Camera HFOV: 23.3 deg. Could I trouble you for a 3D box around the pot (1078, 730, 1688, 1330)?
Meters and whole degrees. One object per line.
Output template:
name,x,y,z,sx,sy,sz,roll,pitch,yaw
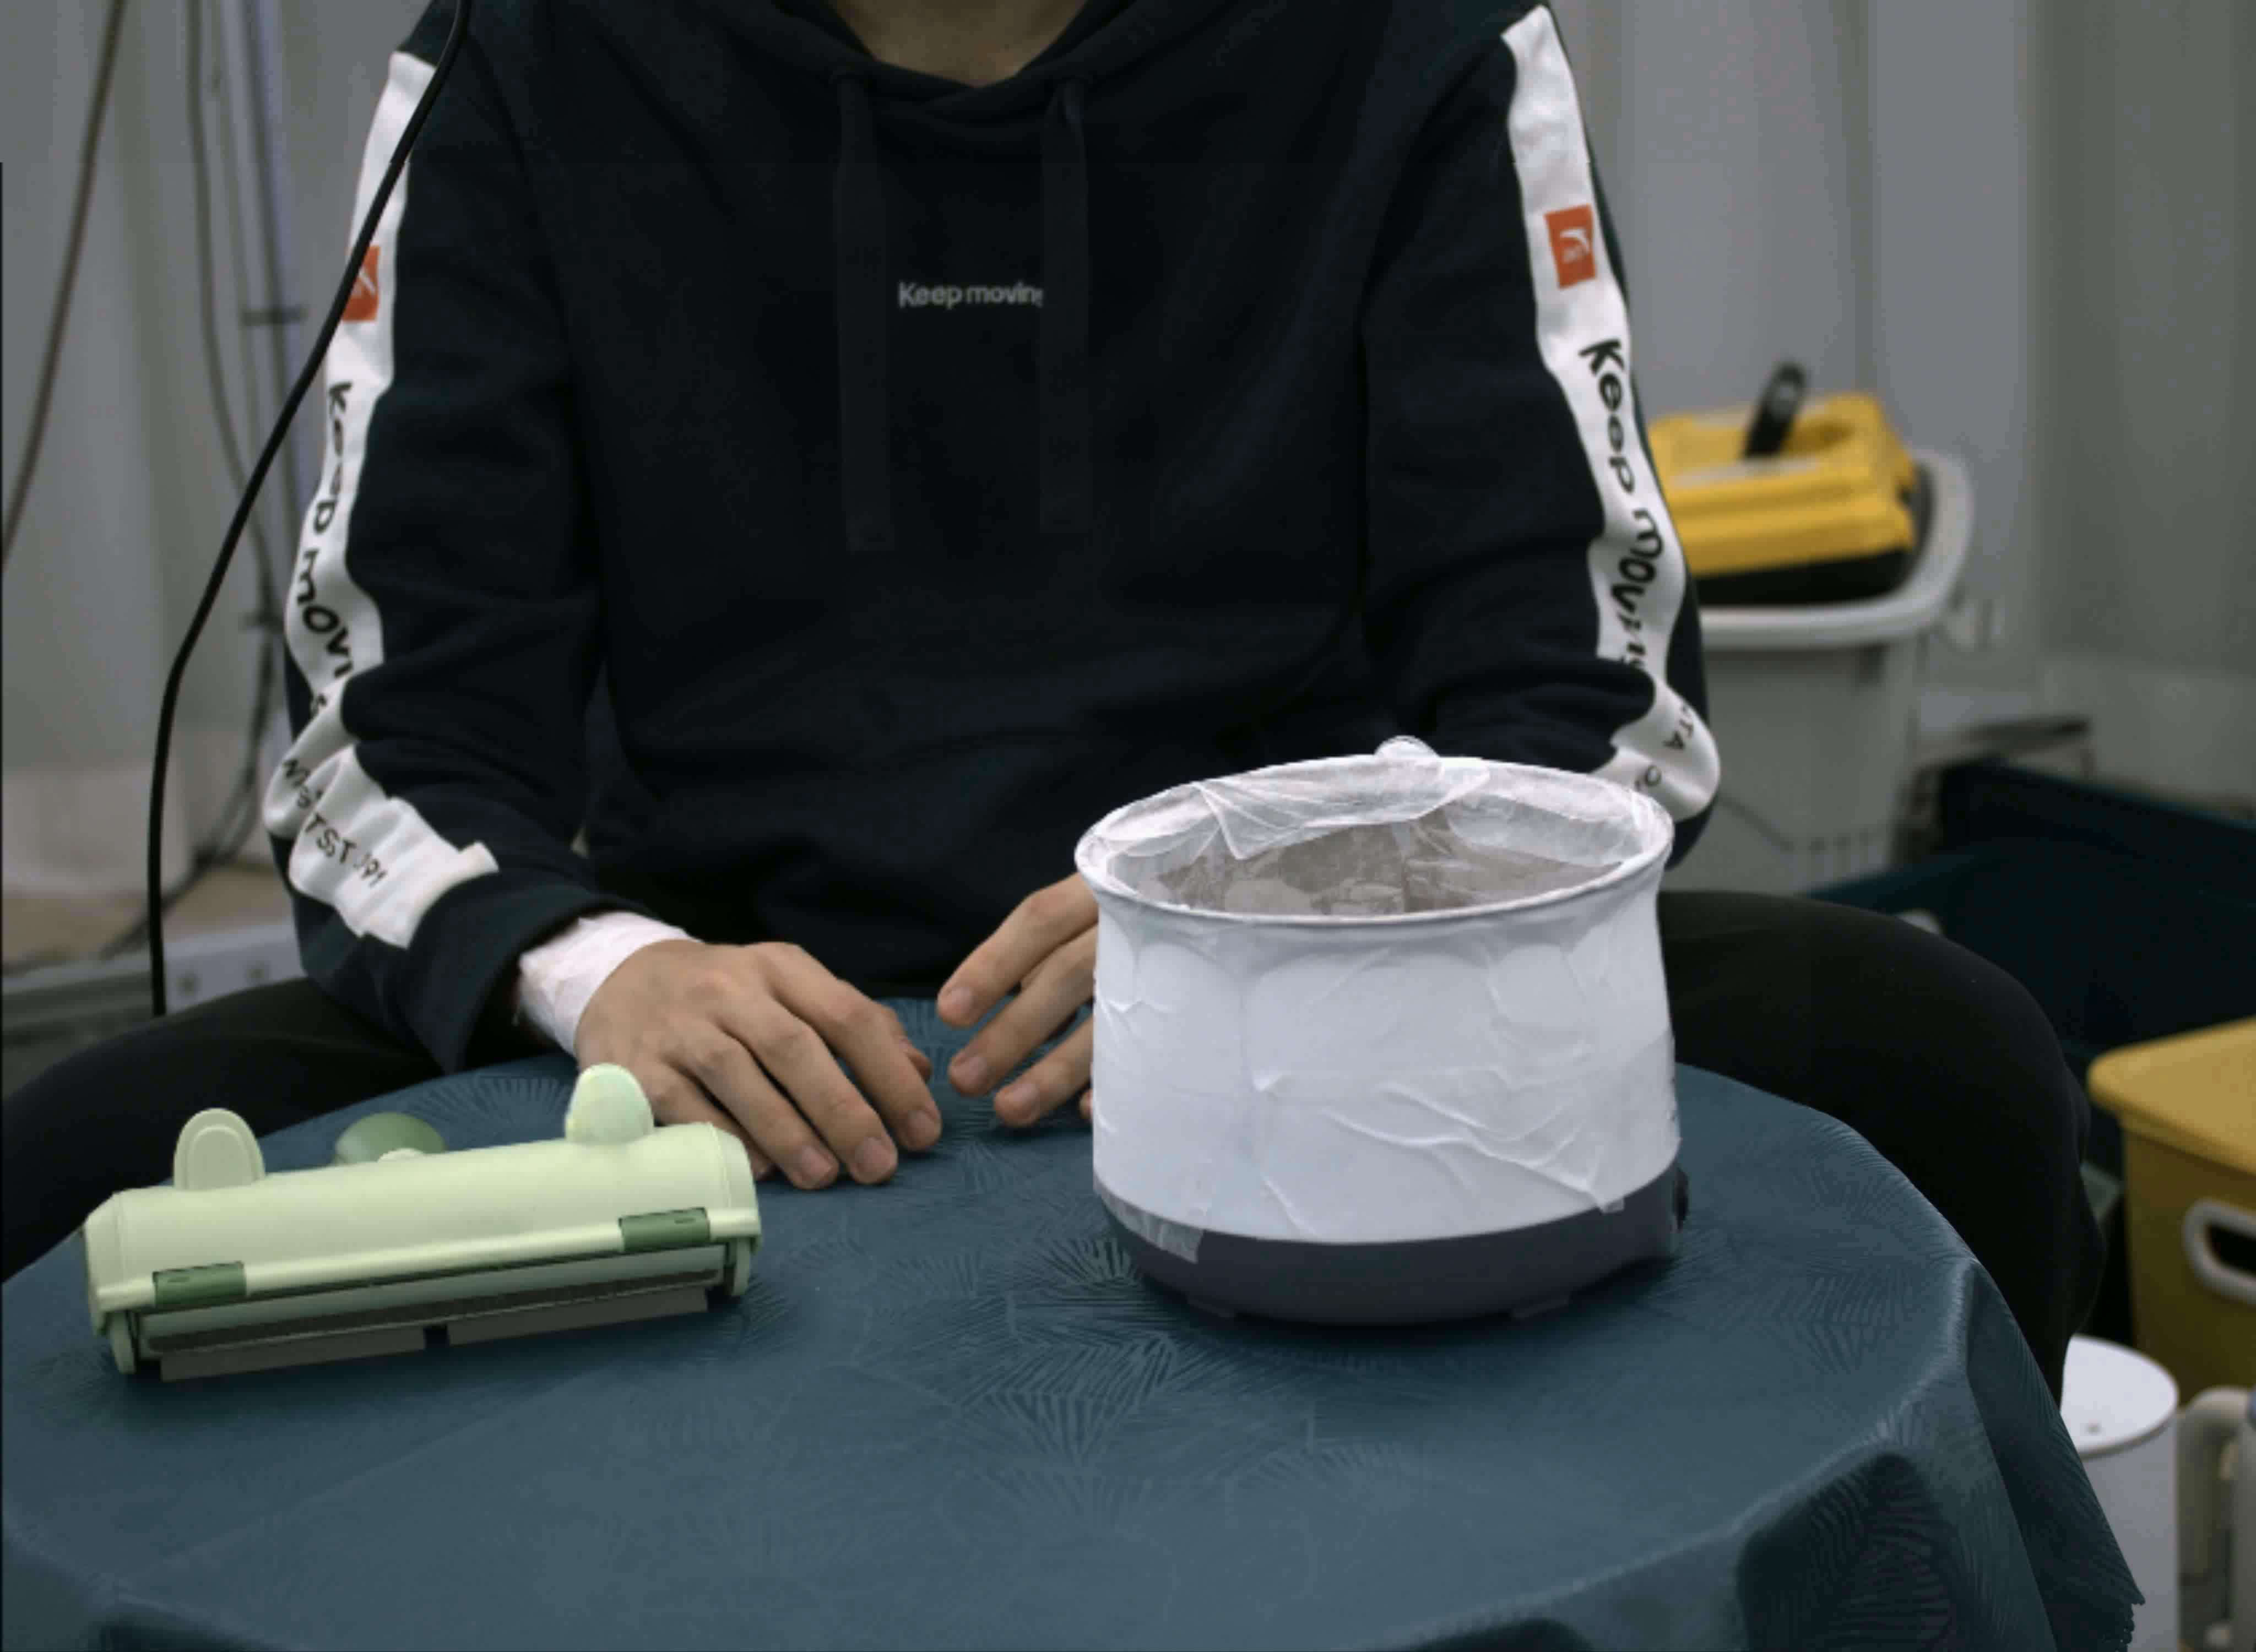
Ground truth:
pot,0.079,0.056,1.651,0.178,0.136,0.235,0,16,8

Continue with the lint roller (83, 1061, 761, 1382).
lint roller,-0.221,0.101,1.667,0.198,0.081,0.185,-7,20,-11
